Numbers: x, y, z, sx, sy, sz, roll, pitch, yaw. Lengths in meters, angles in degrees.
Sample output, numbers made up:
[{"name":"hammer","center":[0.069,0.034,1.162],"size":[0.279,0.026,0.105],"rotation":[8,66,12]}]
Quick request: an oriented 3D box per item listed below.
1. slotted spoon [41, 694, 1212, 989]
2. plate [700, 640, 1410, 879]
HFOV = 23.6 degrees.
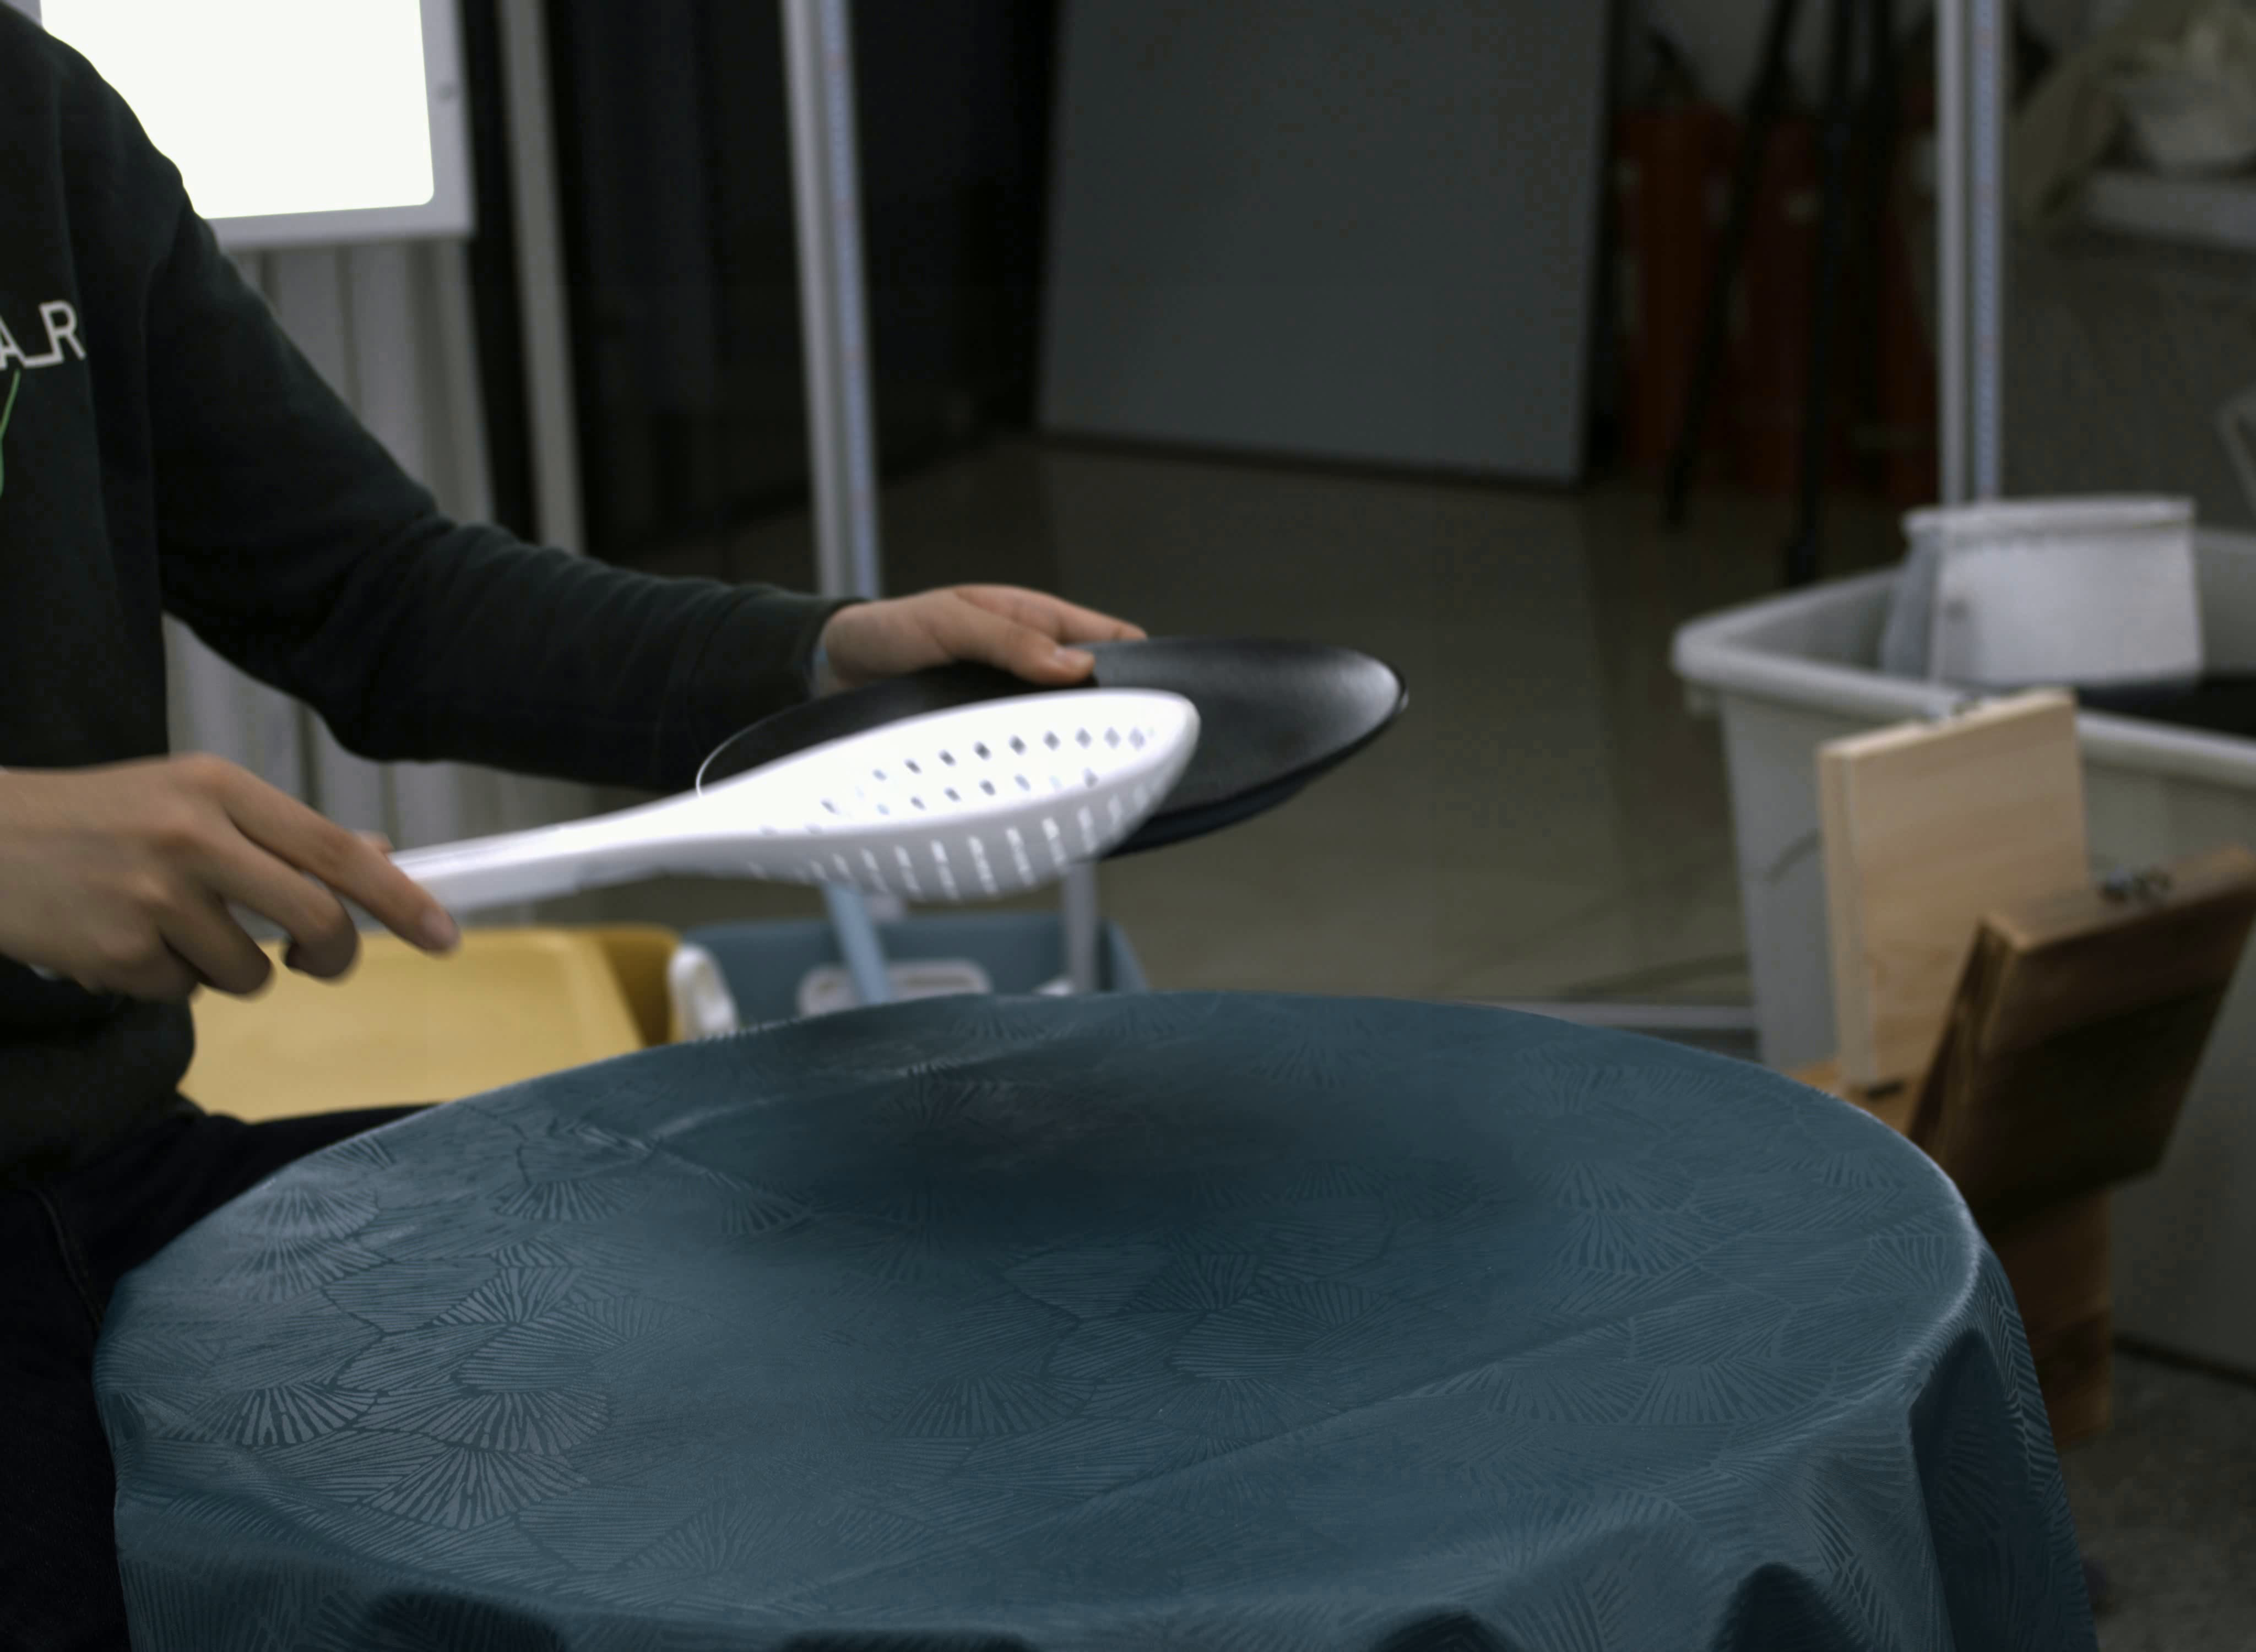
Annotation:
[{"name":"slotted spoon","center":[-0.145,0.008,1.569],"size":[0.346,0.046,0.136],"rotation":[-6,13,4]},{"name":"plate","center":[-0.023,-0.020,1.811],"size":[0.241,0.023,0.245],"rotation":[-8,15,1]}]
